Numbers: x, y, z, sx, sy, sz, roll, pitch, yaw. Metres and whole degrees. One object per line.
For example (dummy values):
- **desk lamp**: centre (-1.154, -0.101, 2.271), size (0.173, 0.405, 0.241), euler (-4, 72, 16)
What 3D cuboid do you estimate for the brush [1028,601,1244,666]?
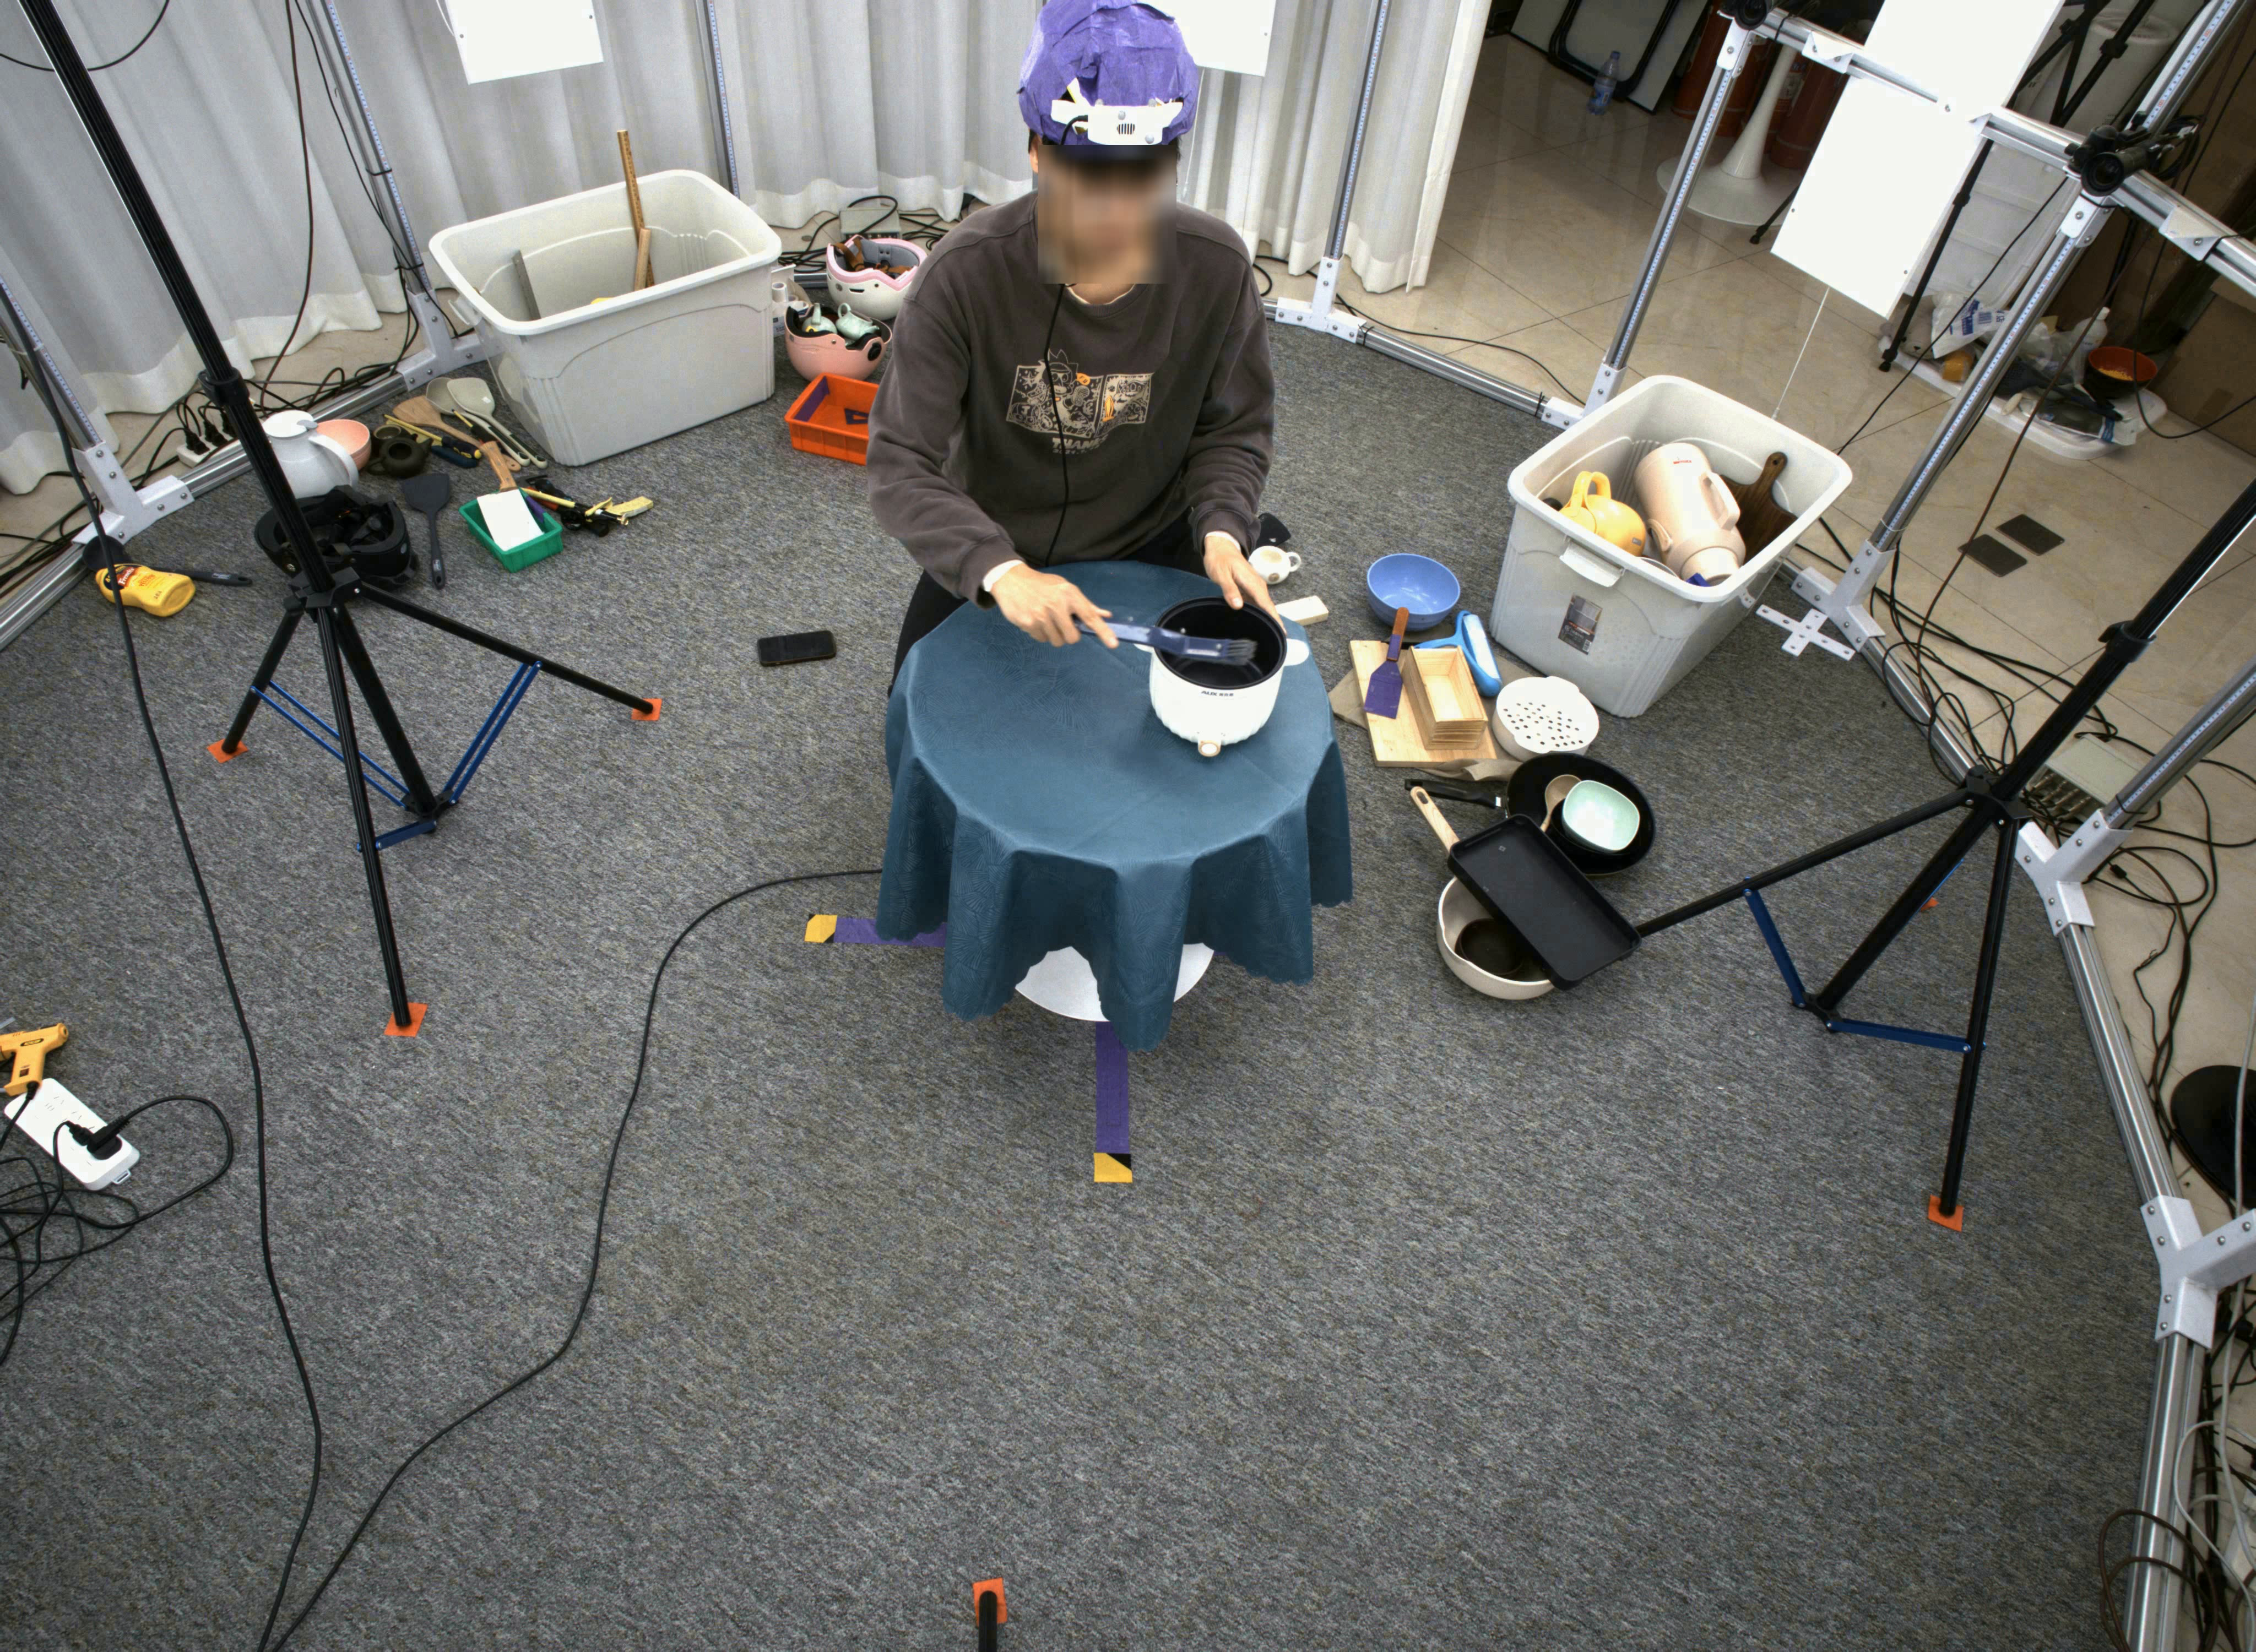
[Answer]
- **brush**: centre (0.007, -0.240, 1.588), size (0.273, 0.095, 0.034), euler (14, 85, 4)

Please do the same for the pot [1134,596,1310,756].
- **pot**: centre (0.121, -0.202, 1.759), size (0.240, 0.139, 0.195), euler (4, 46, 2)
